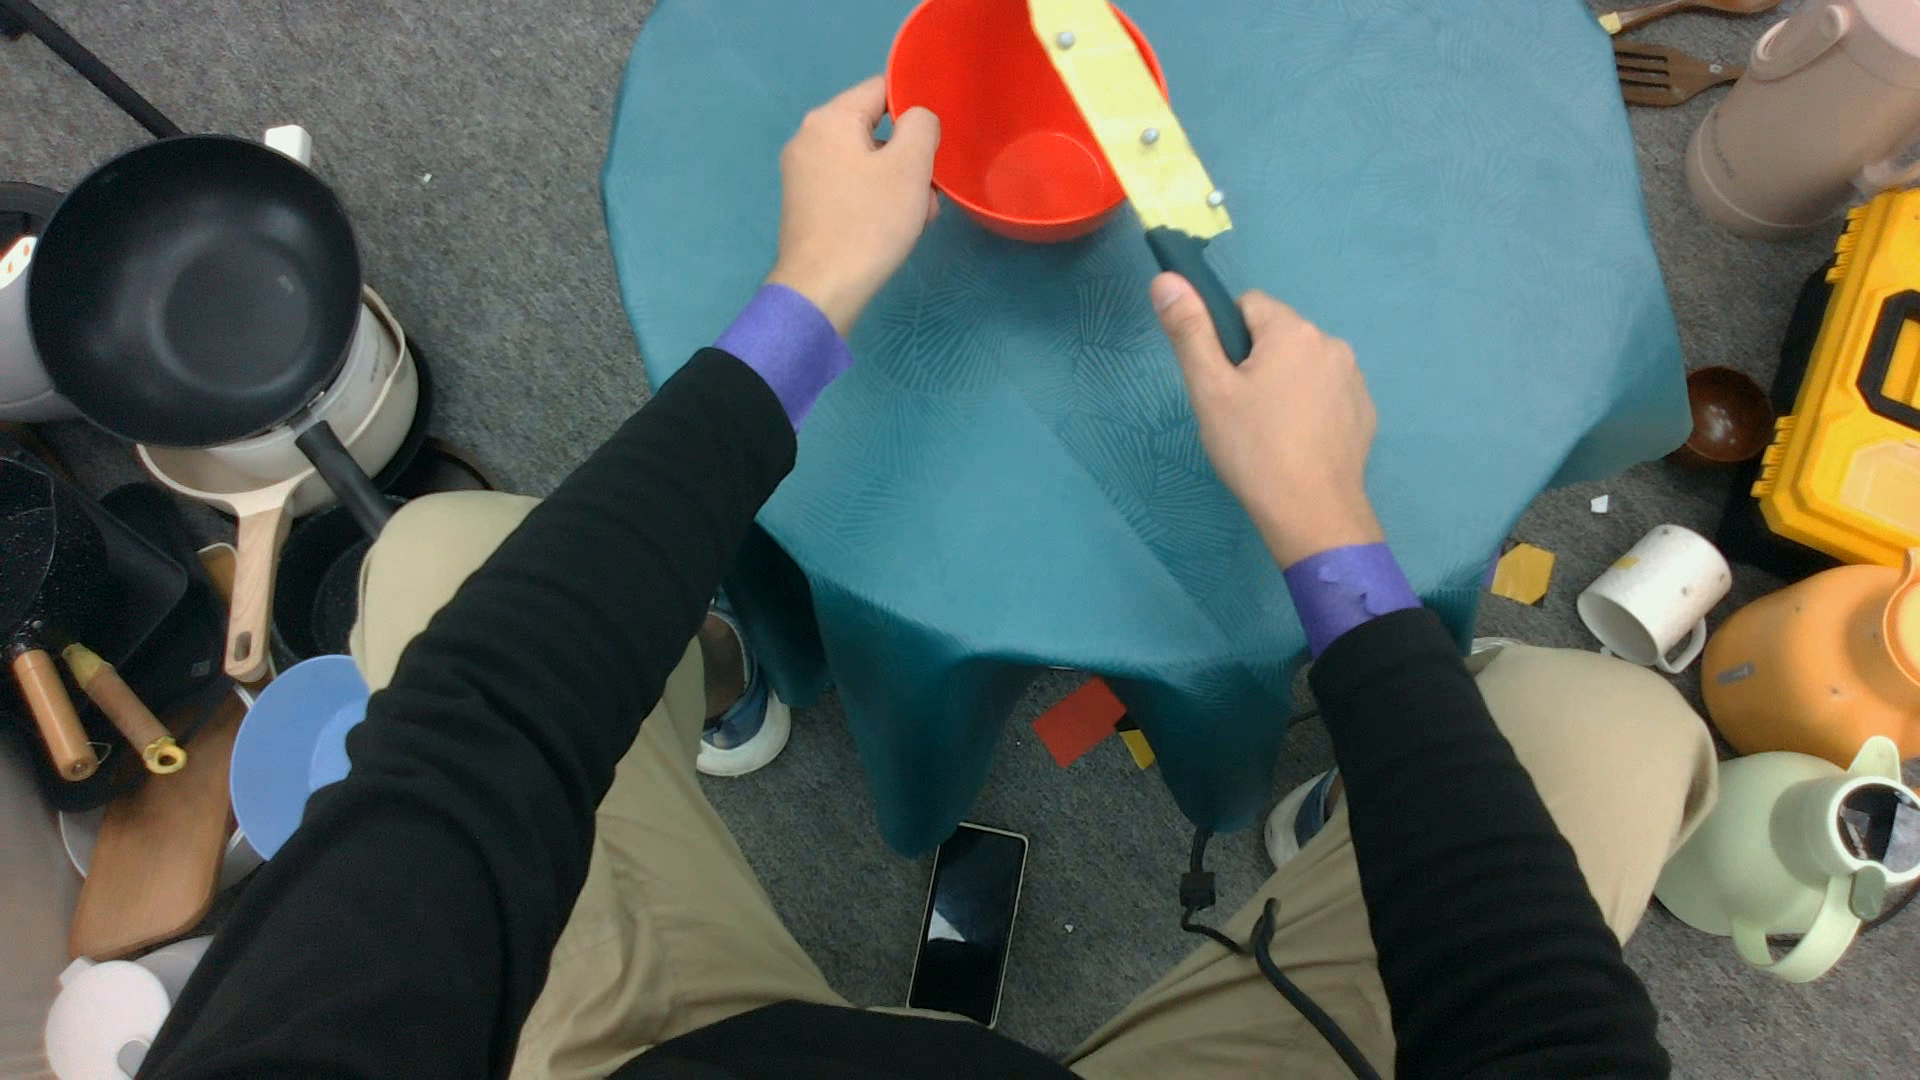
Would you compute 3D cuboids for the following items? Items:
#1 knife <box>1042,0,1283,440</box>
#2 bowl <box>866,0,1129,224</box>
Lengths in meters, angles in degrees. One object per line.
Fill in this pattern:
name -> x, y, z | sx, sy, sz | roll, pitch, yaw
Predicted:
knife -> 0.105, -0.188, 0.704 | 0.081, 0.027, 0.289 | -21, 88, -42
bowl -> 0.025, -0.230, 0.754 | 0.148, 0.104, 0.148 | 0, 73, 0
